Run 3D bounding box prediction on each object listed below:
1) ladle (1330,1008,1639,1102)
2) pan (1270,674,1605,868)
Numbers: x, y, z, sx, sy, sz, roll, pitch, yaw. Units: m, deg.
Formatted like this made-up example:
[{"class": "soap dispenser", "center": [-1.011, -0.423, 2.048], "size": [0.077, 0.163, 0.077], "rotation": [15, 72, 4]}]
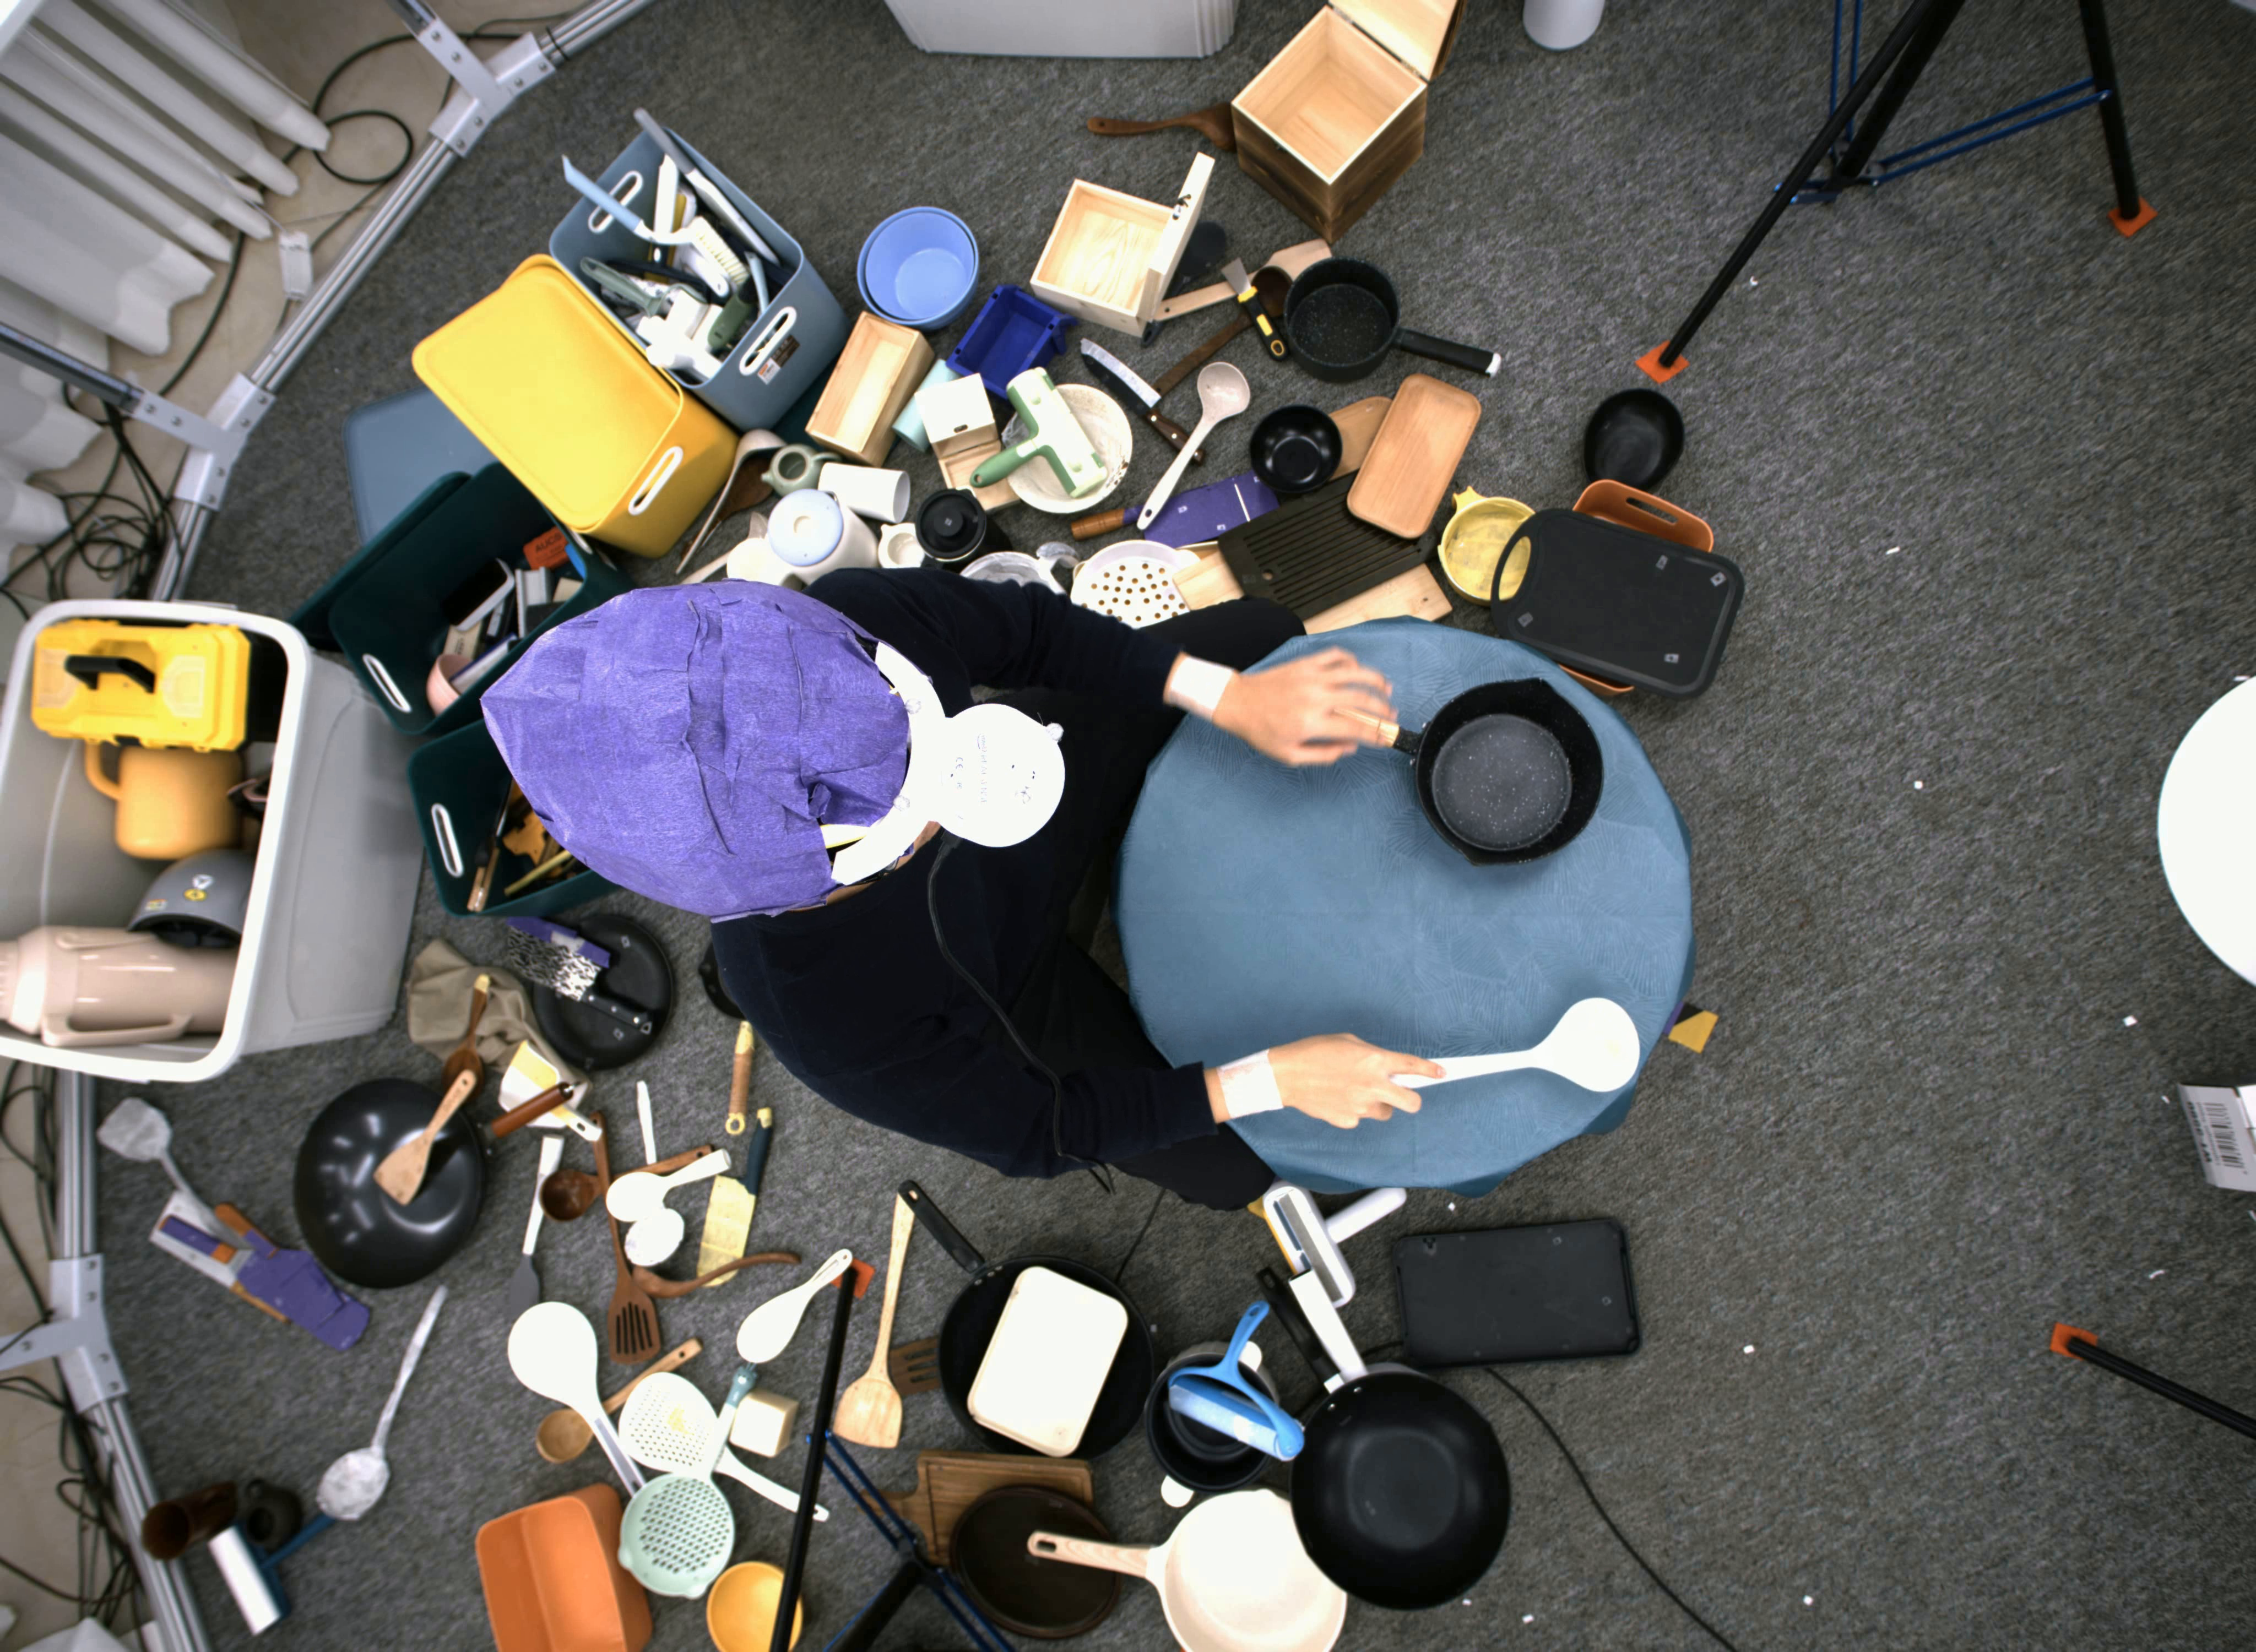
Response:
[{"class": "ladle", "center": [0.347, 0.234, 1.348], "size": [0.293, 0.070, 0.089], "rotation": [-6, 81, -4]}, {"class": "pan", "center": [0.309, -0.077, 1.406], "size": [0.343, 0.108, 0.207], "rotation": [18, 90, 10]}]
